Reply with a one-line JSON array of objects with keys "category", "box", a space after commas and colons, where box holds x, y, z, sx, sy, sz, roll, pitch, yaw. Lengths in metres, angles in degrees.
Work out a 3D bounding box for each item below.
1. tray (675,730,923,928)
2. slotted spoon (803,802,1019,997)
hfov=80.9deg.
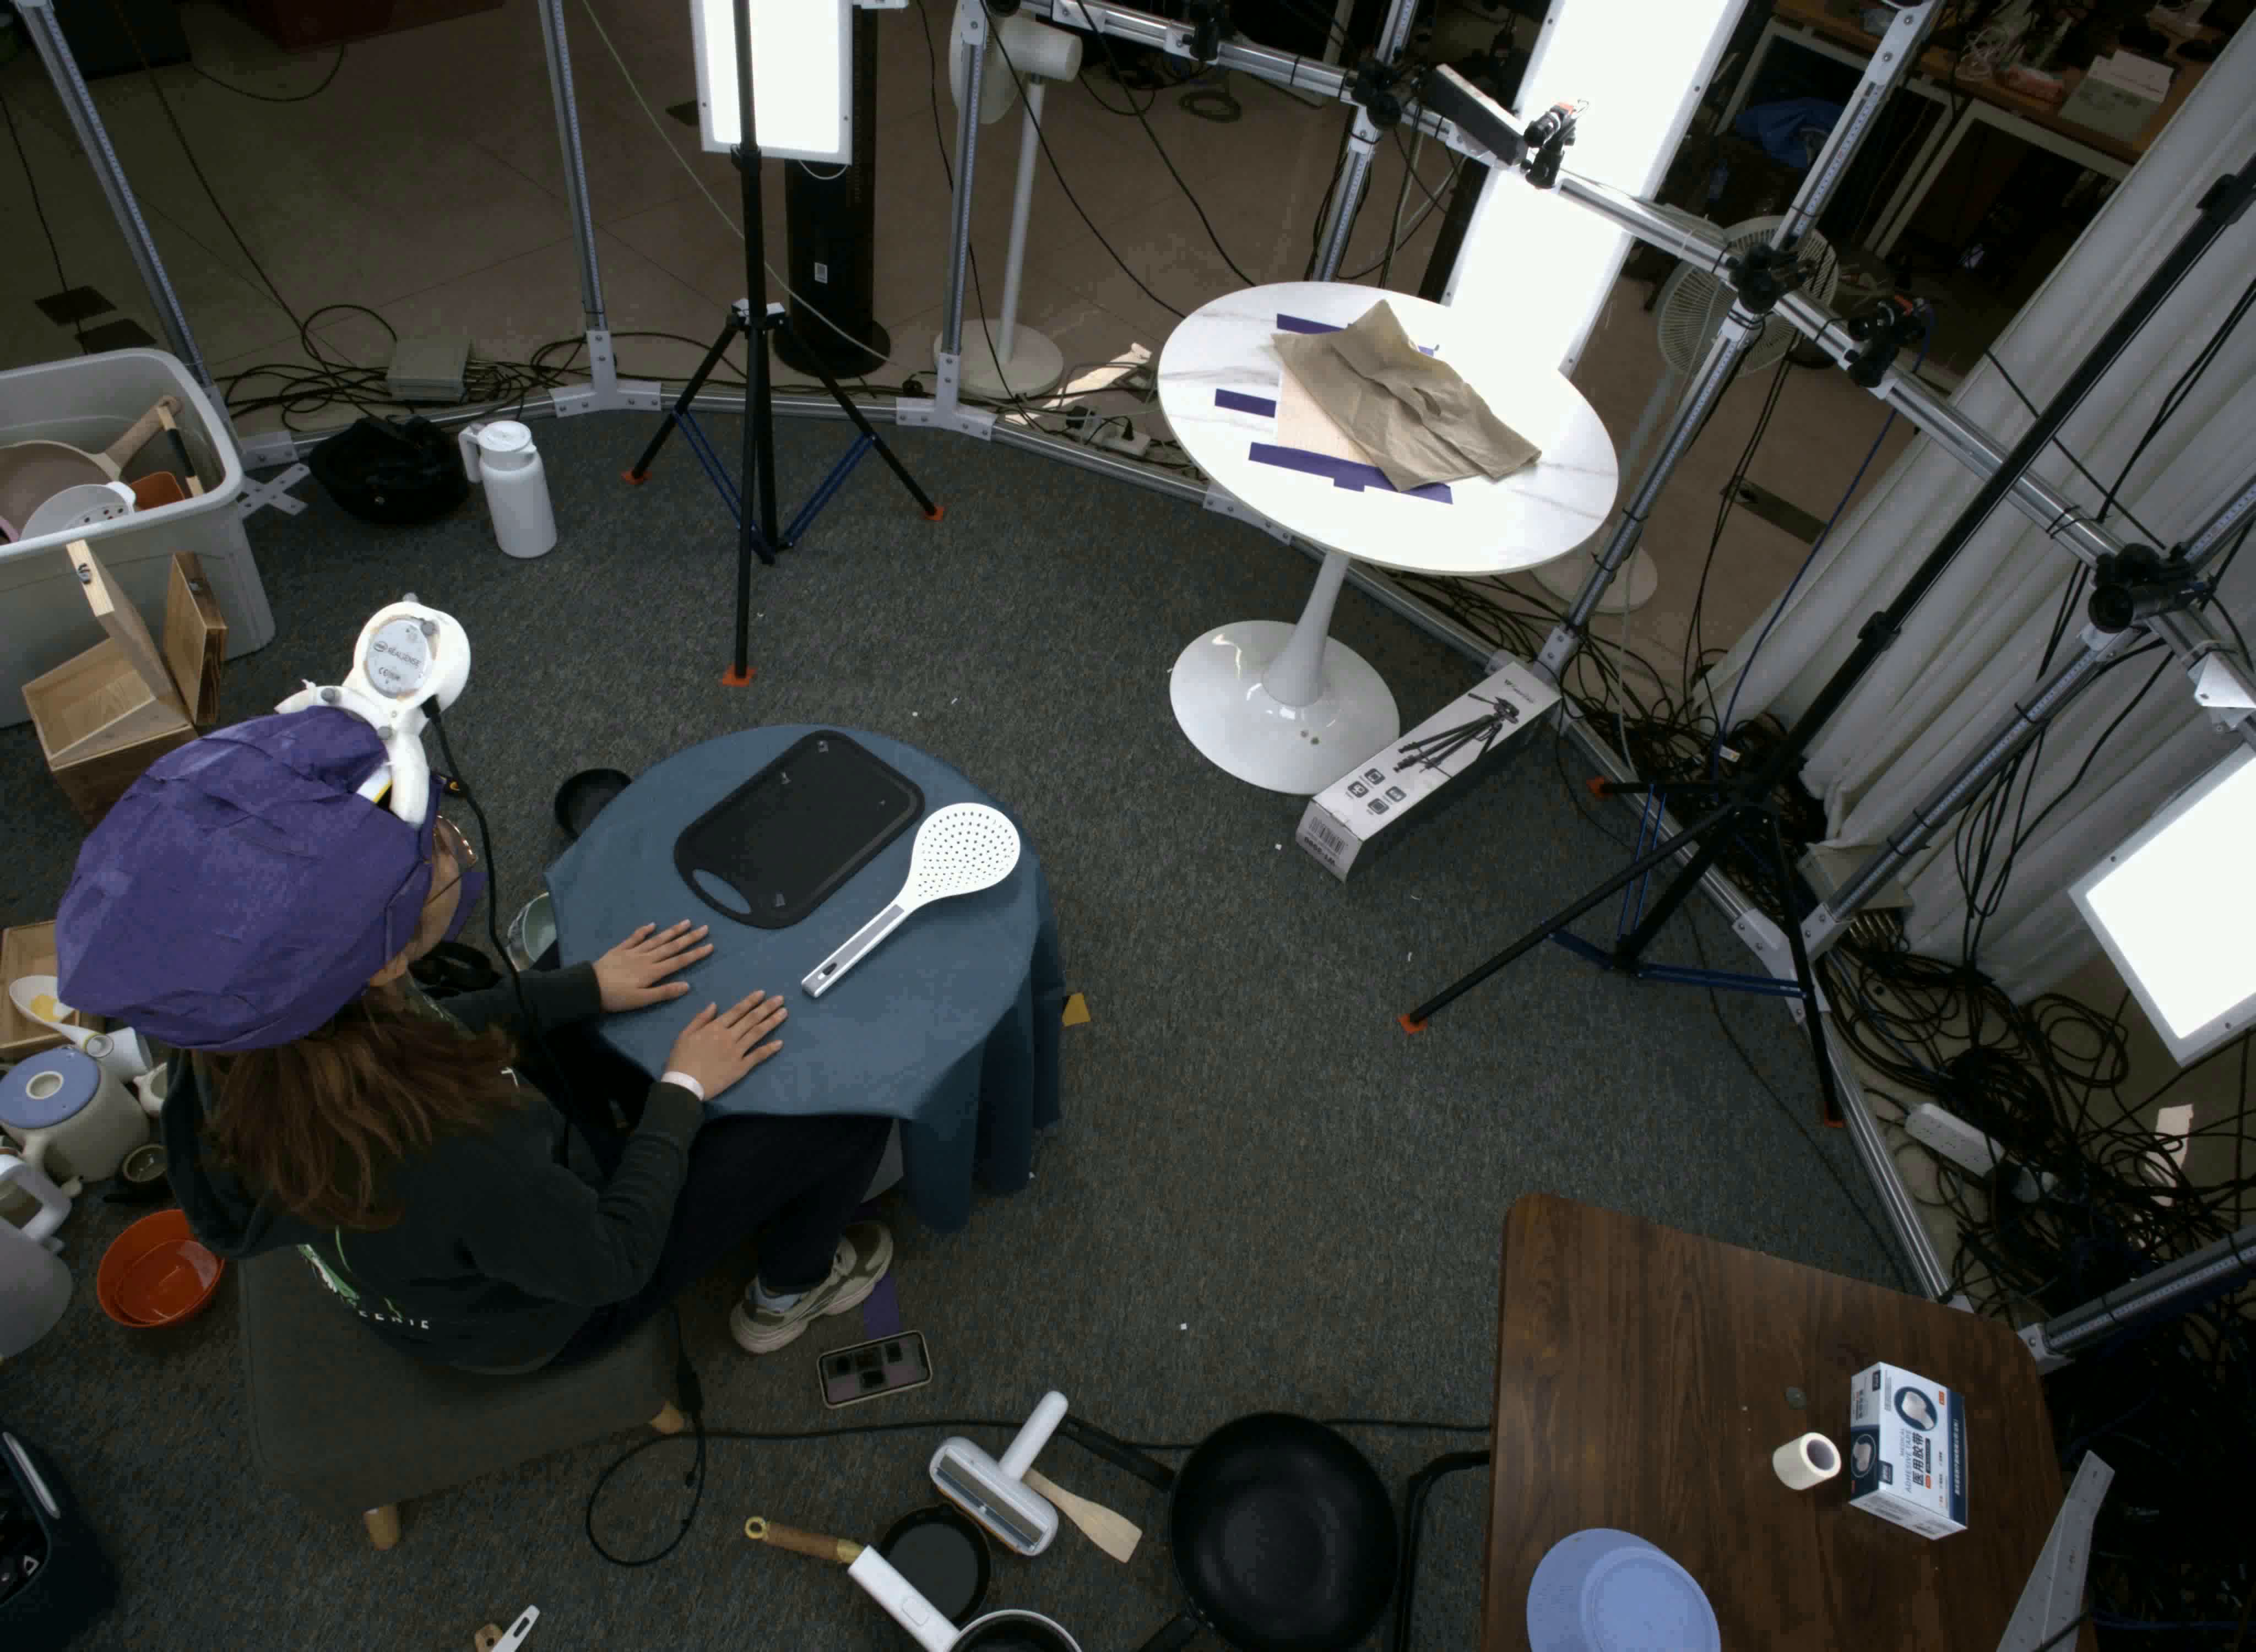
[{"category": "tray", "box": [-0.438, 0.000, 1.721, 0.207, 0.010, 0.325, 35, 54, 13]}, {"category": "slotted spoon", "box": [-0.280, 0.093, 1.667, 0.133, 0.047, 0.350, 36, 54, 16]}]
